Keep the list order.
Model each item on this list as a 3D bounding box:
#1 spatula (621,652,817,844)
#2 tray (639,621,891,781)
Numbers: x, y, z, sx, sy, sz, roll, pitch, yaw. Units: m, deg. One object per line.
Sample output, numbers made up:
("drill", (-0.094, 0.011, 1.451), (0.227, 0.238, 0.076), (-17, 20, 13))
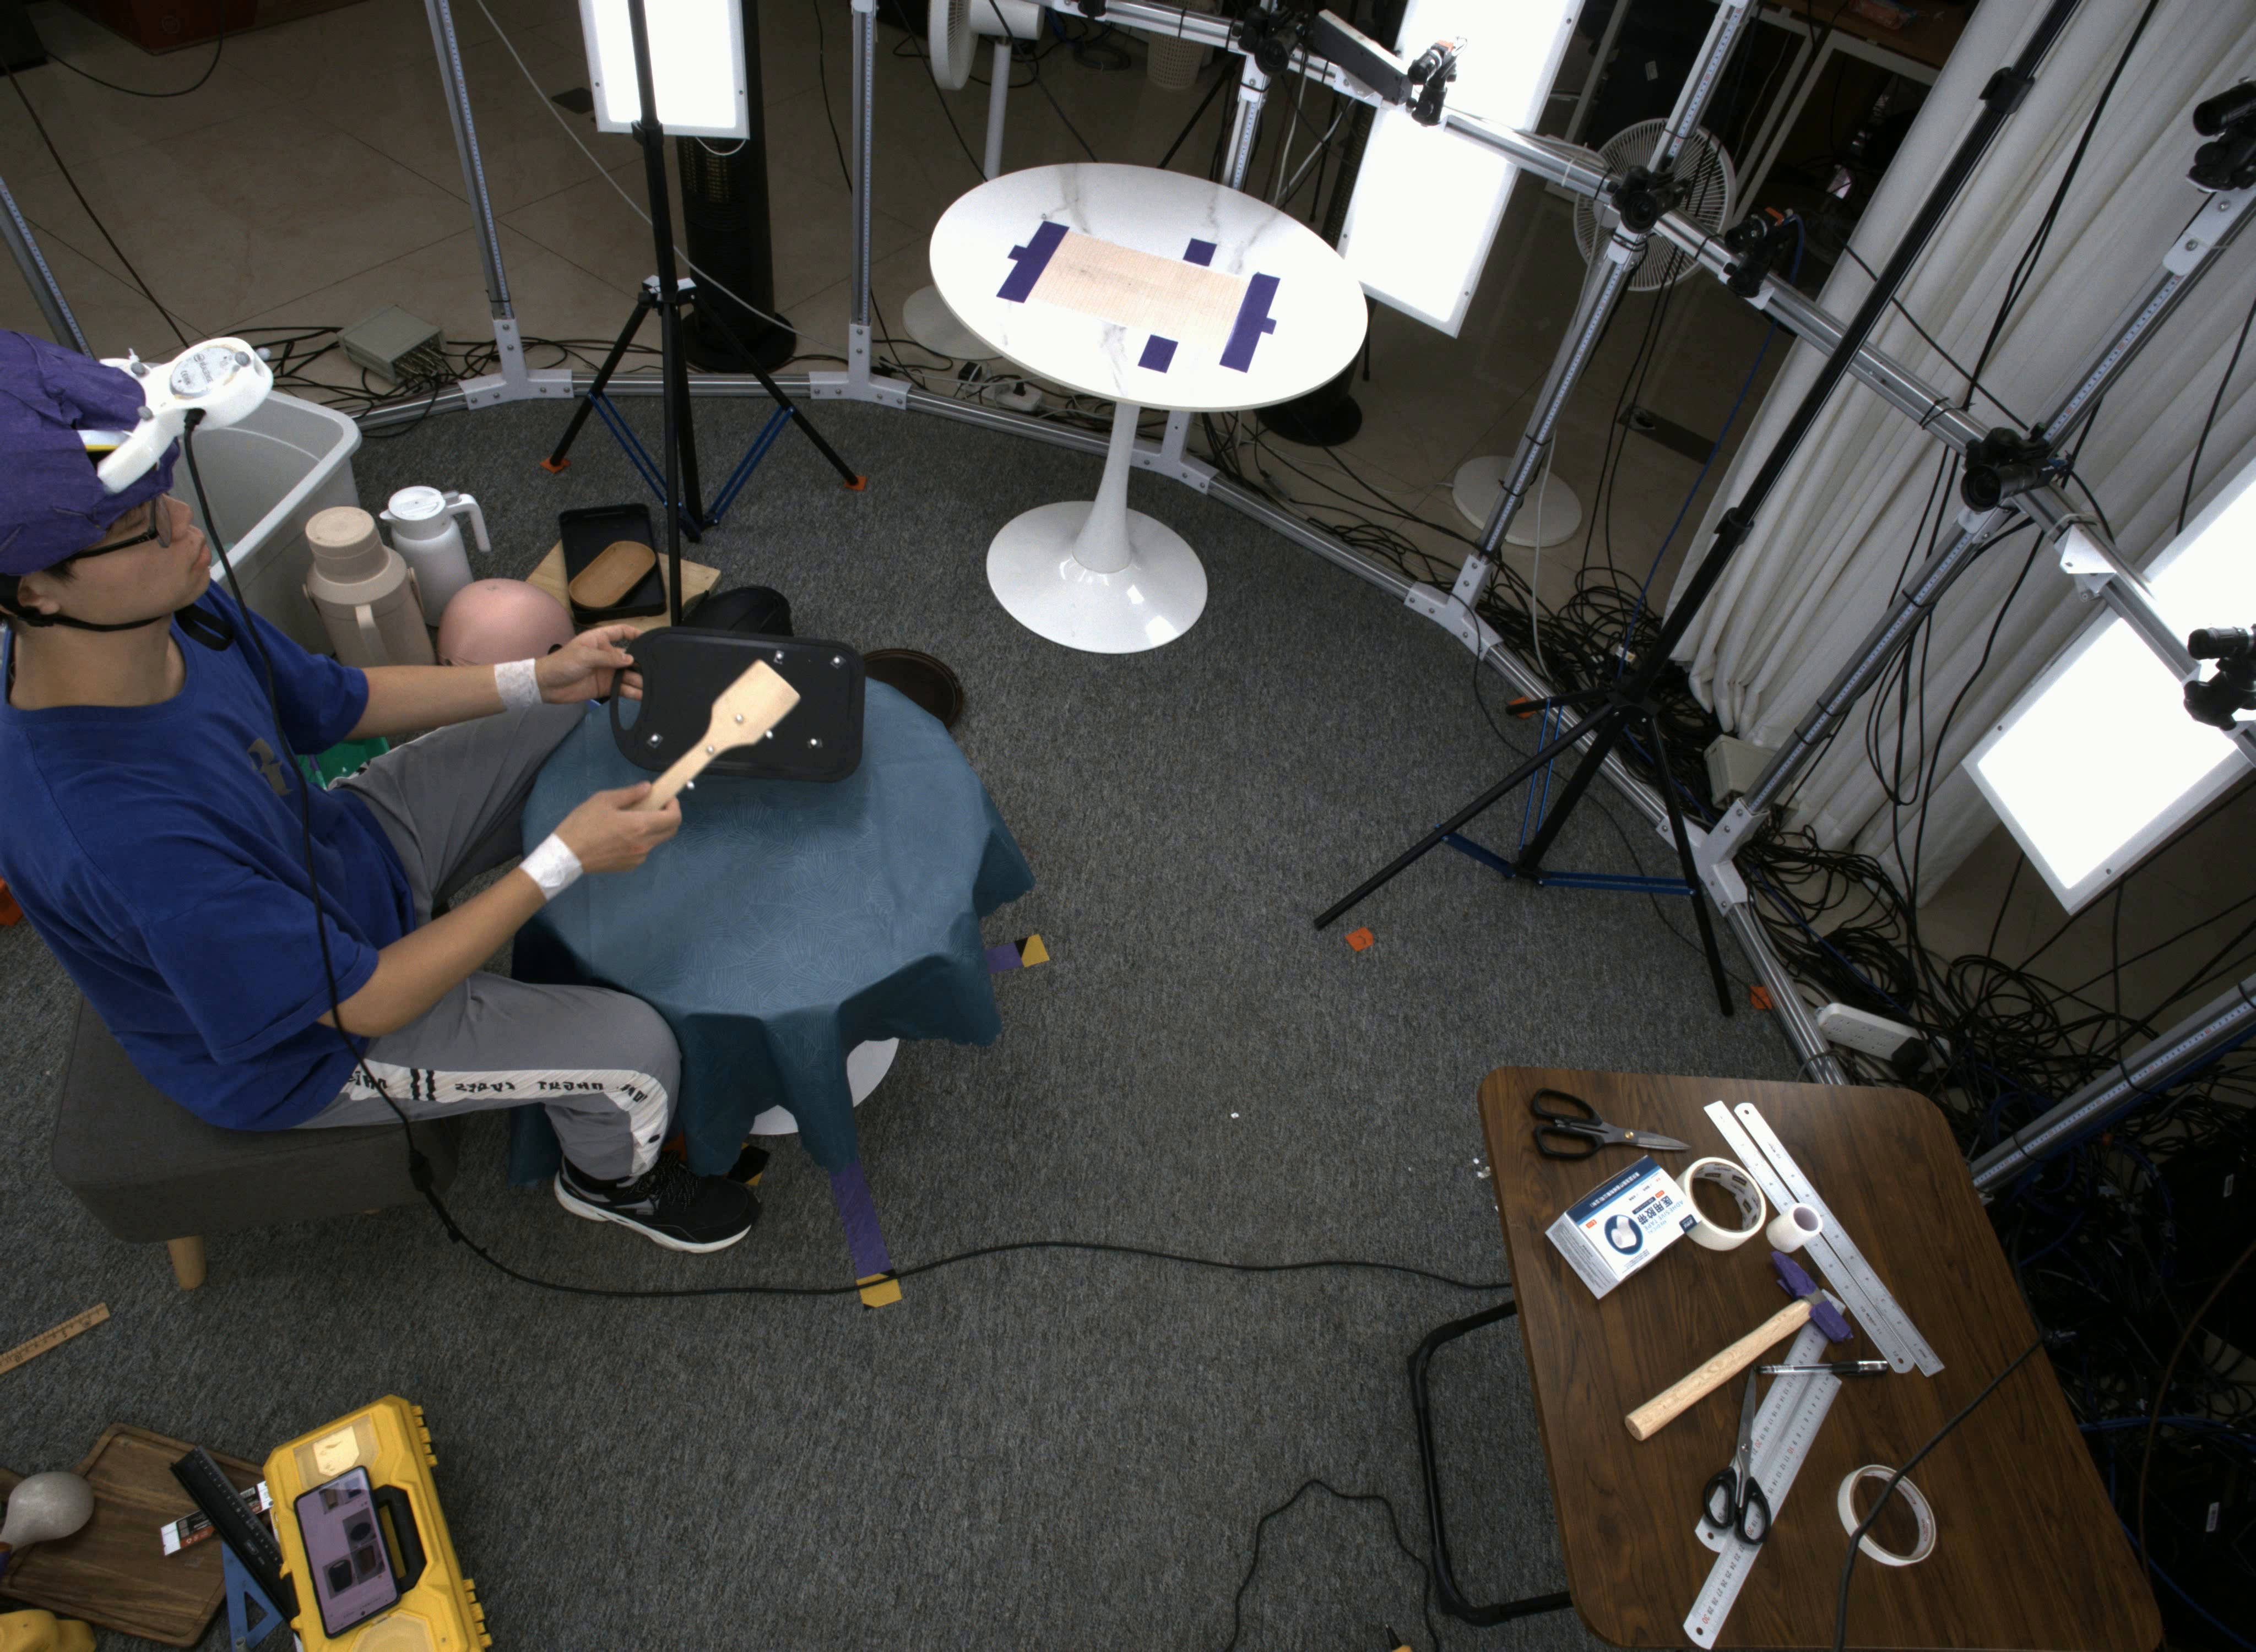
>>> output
("spatula", (-0.492, -0.088, 1.537), (0.073, 0.010, 0.293), (44, 68, -7))
("tray", (-0.479, -0.167, 1.702), (0.326, 0.010, 0.209), (5, 70, -15))
